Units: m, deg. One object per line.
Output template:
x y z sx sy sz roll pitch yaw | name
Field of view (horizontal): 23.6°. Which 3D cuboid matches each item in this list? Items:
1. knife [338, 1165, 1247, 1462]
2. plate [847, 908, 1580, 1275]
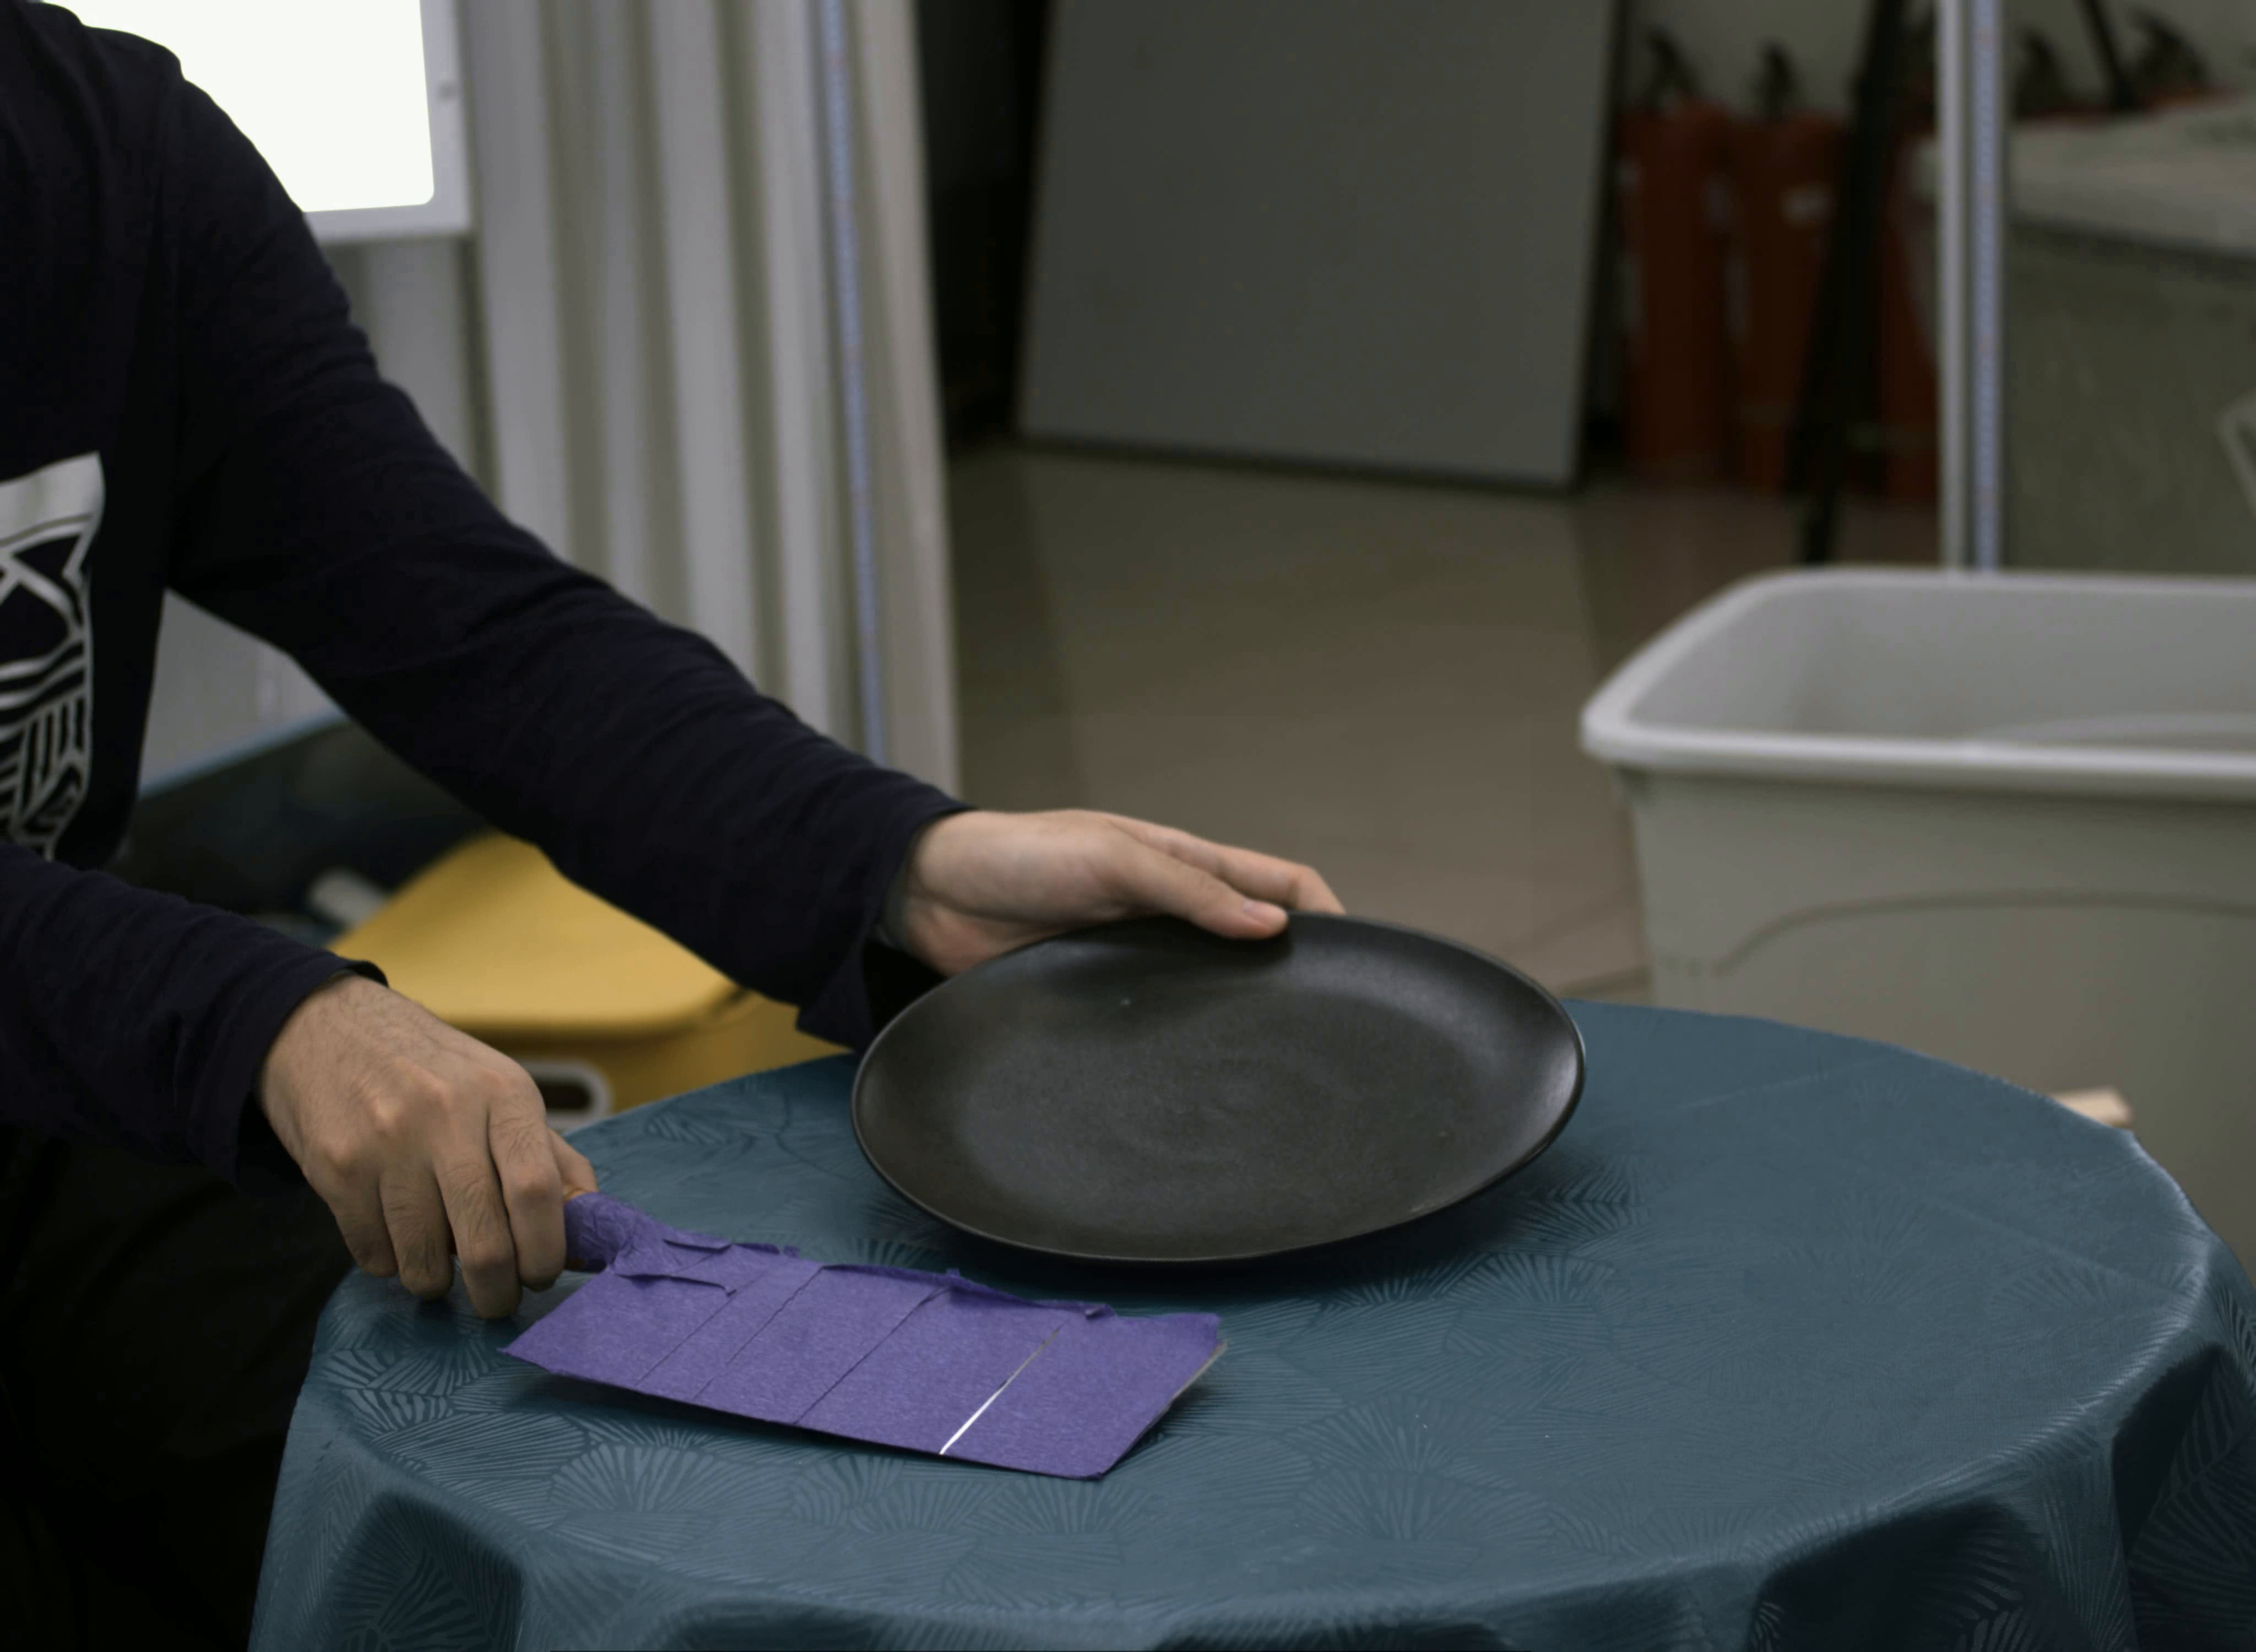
-0.122 0.145 1.625 0.316 0.032 0.102 5 22 29 | knife
0.028 0.091 1.767 0.241 0.023 0.245 -6 25 2 | plate
